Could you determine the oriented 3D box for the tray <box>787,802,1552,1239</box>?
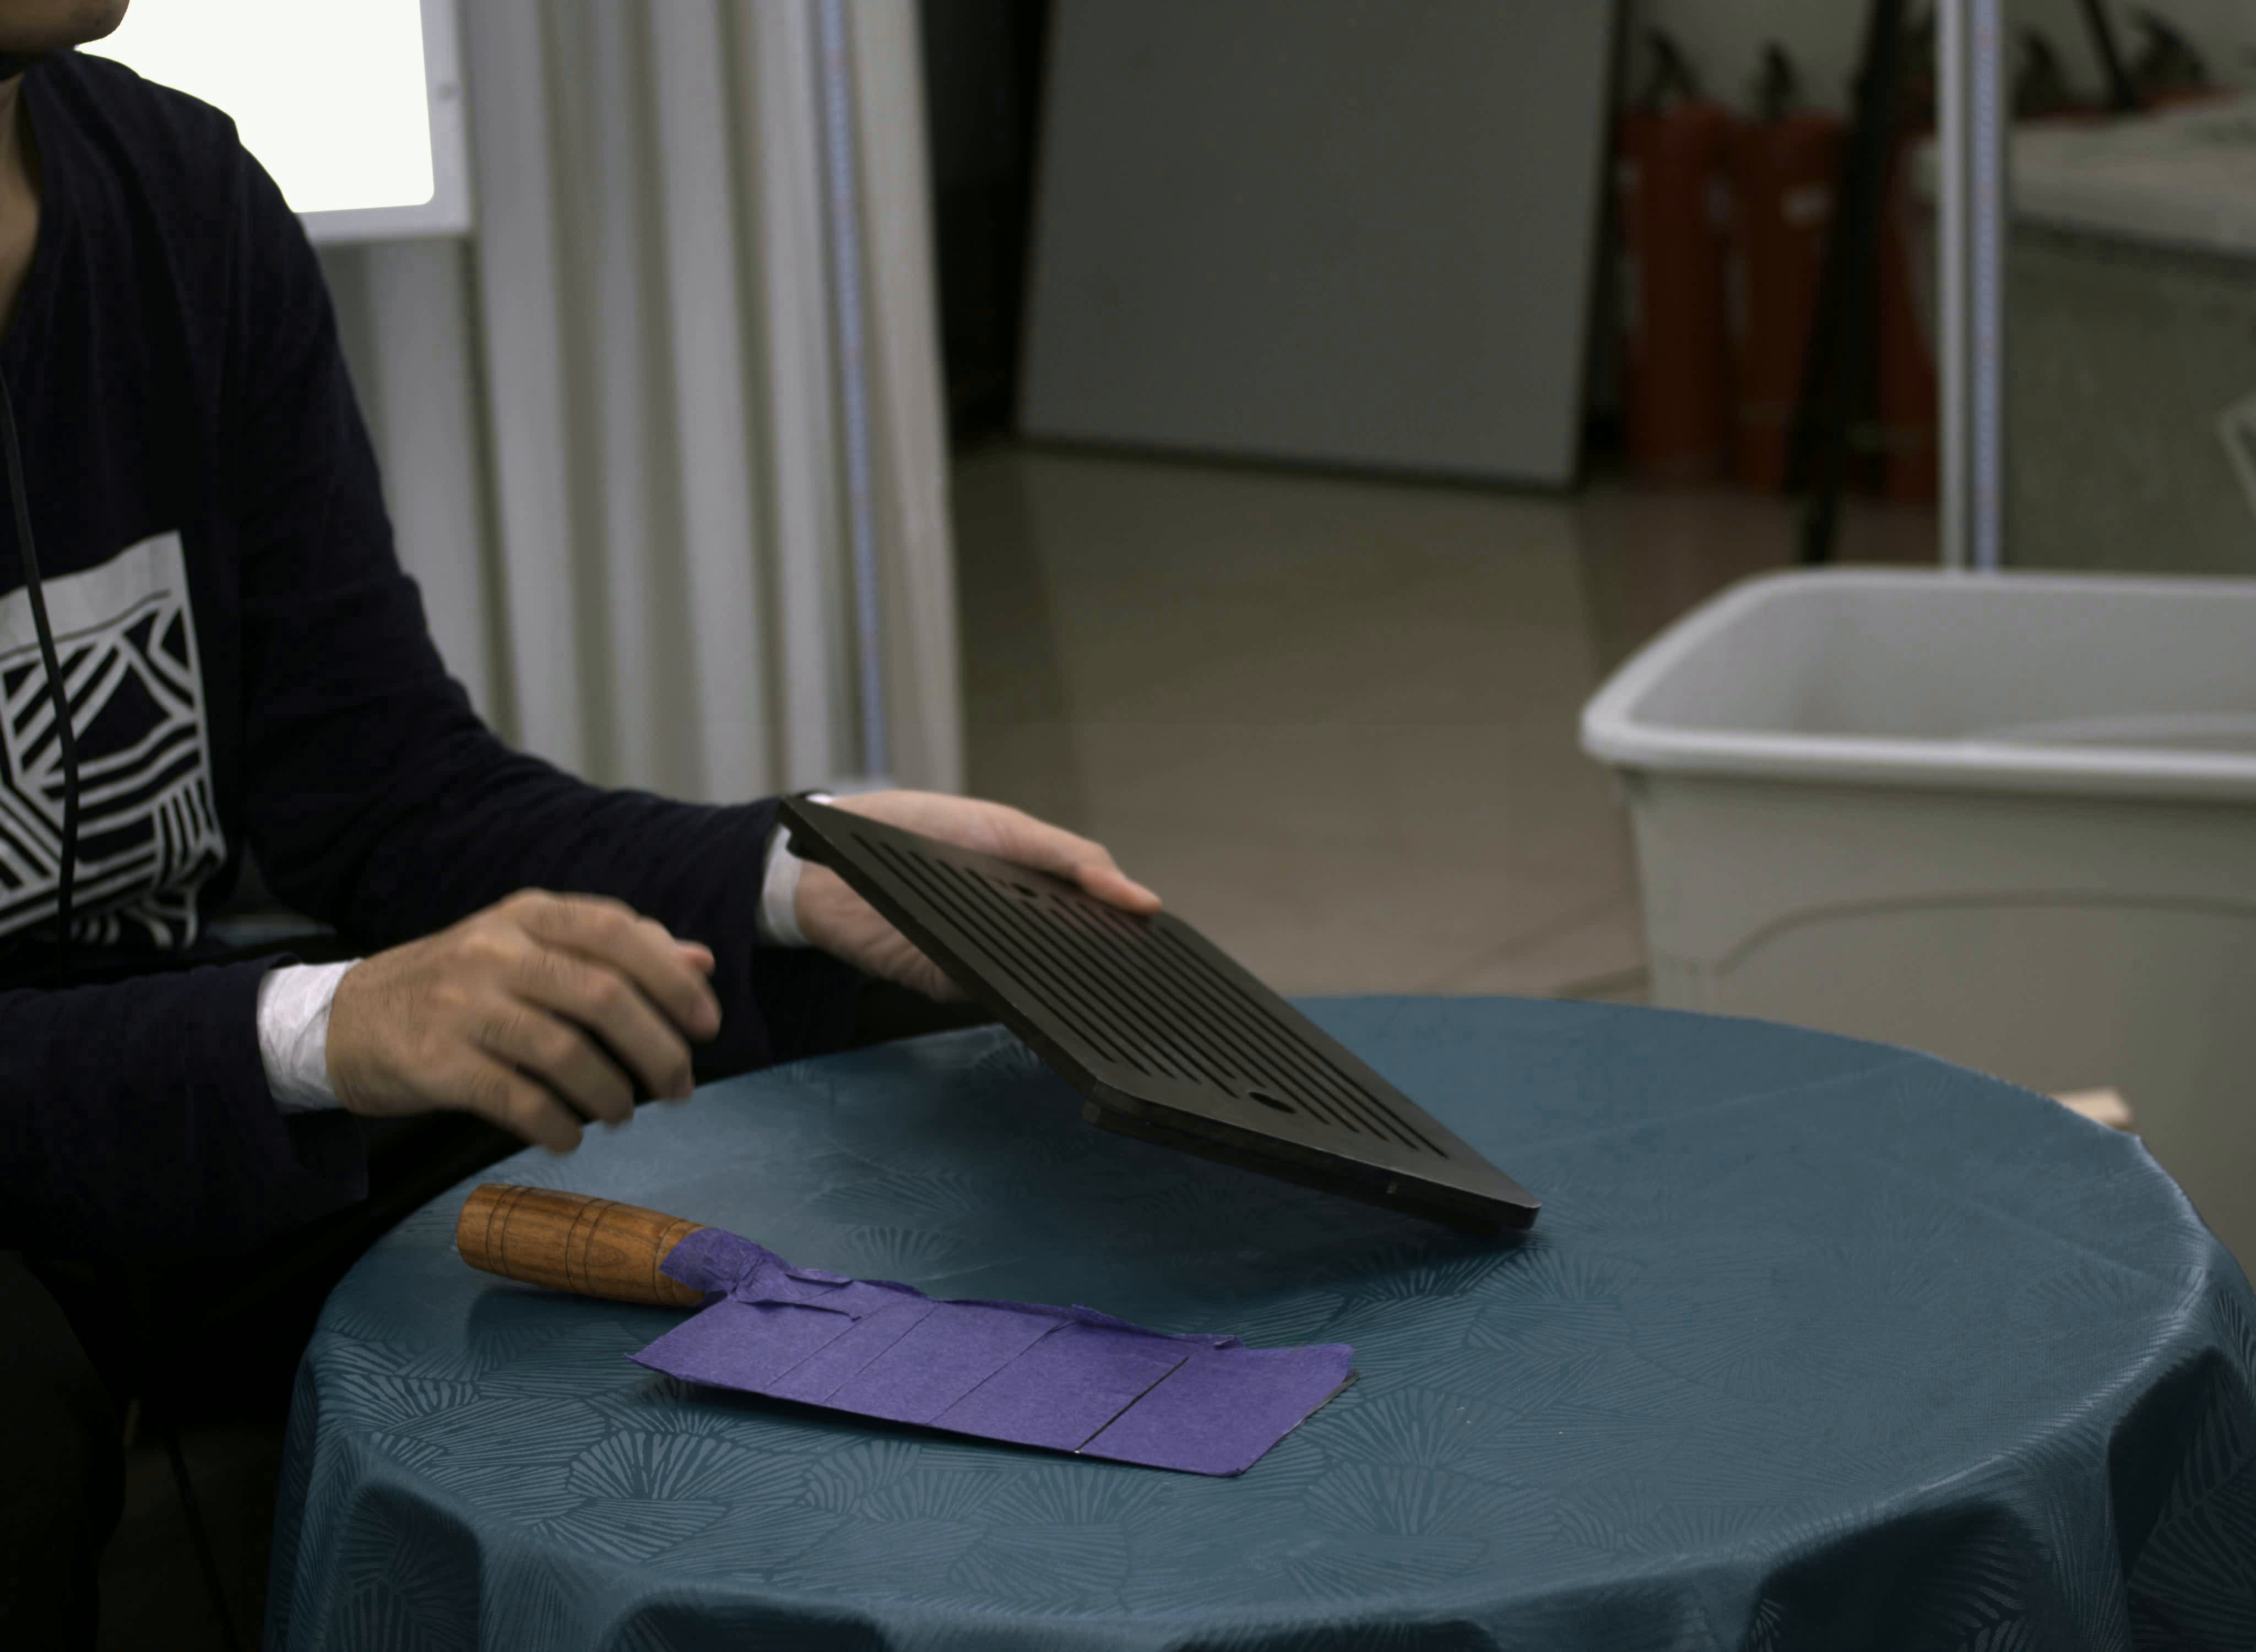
[{"bbox_3d":[0.006,0.064,1.789,0.166,0.019,0.309,18,9,-27],"label":"tray"}]

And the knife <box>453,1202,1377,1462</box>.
[{"bbox_3d":[-0.084,0.151,1.620,0.316,0.032,0.102,4,15,29],"label":"knife"}]
